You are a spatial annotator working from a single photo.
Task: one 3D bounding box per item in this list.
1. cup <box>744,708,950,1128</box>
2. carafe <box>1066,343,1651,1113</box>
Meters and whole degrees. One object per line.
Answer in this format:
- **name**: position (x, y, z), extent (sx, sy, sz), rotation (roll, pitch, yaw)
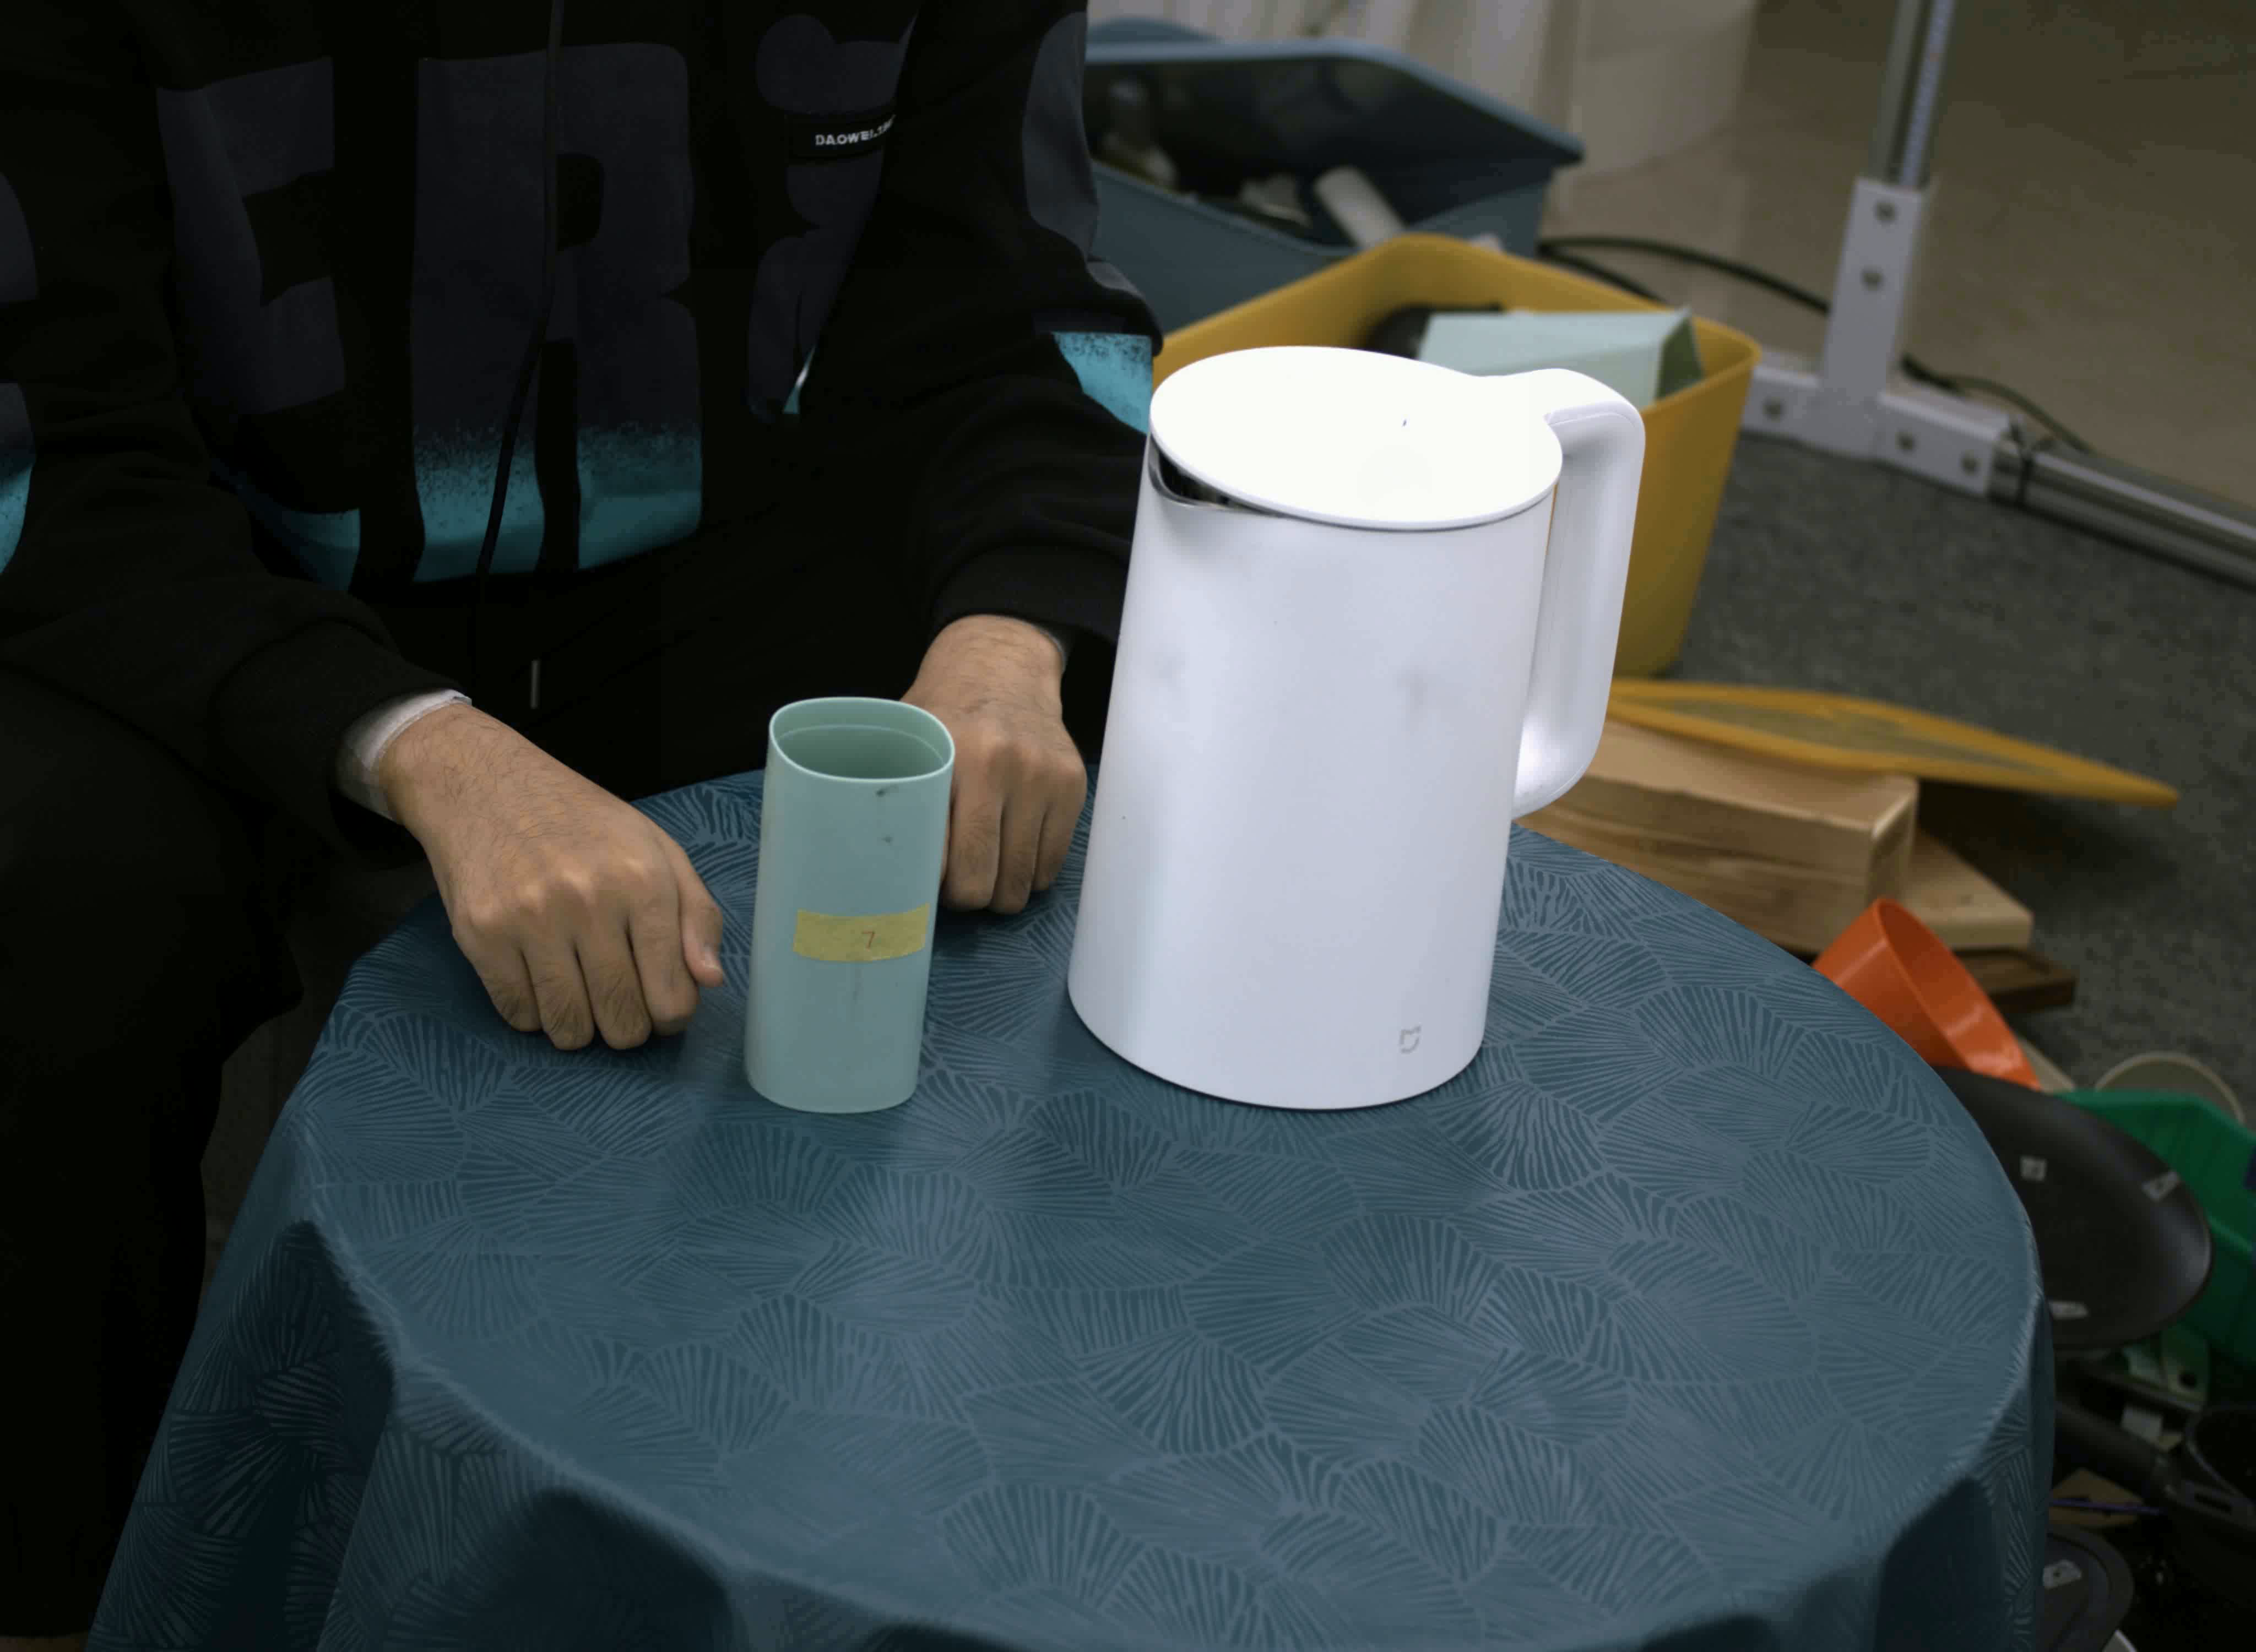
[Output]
- **cup**: position (-0.097, 0.031, 1.823), extent (0.066, 0.132, 0.067), rotation (5, 28, -3)
- **carafe**: position (0.087, -0.040, 1.886), extent (0.212, 0.239, 0.153), rotation (-14, 34, -34)
